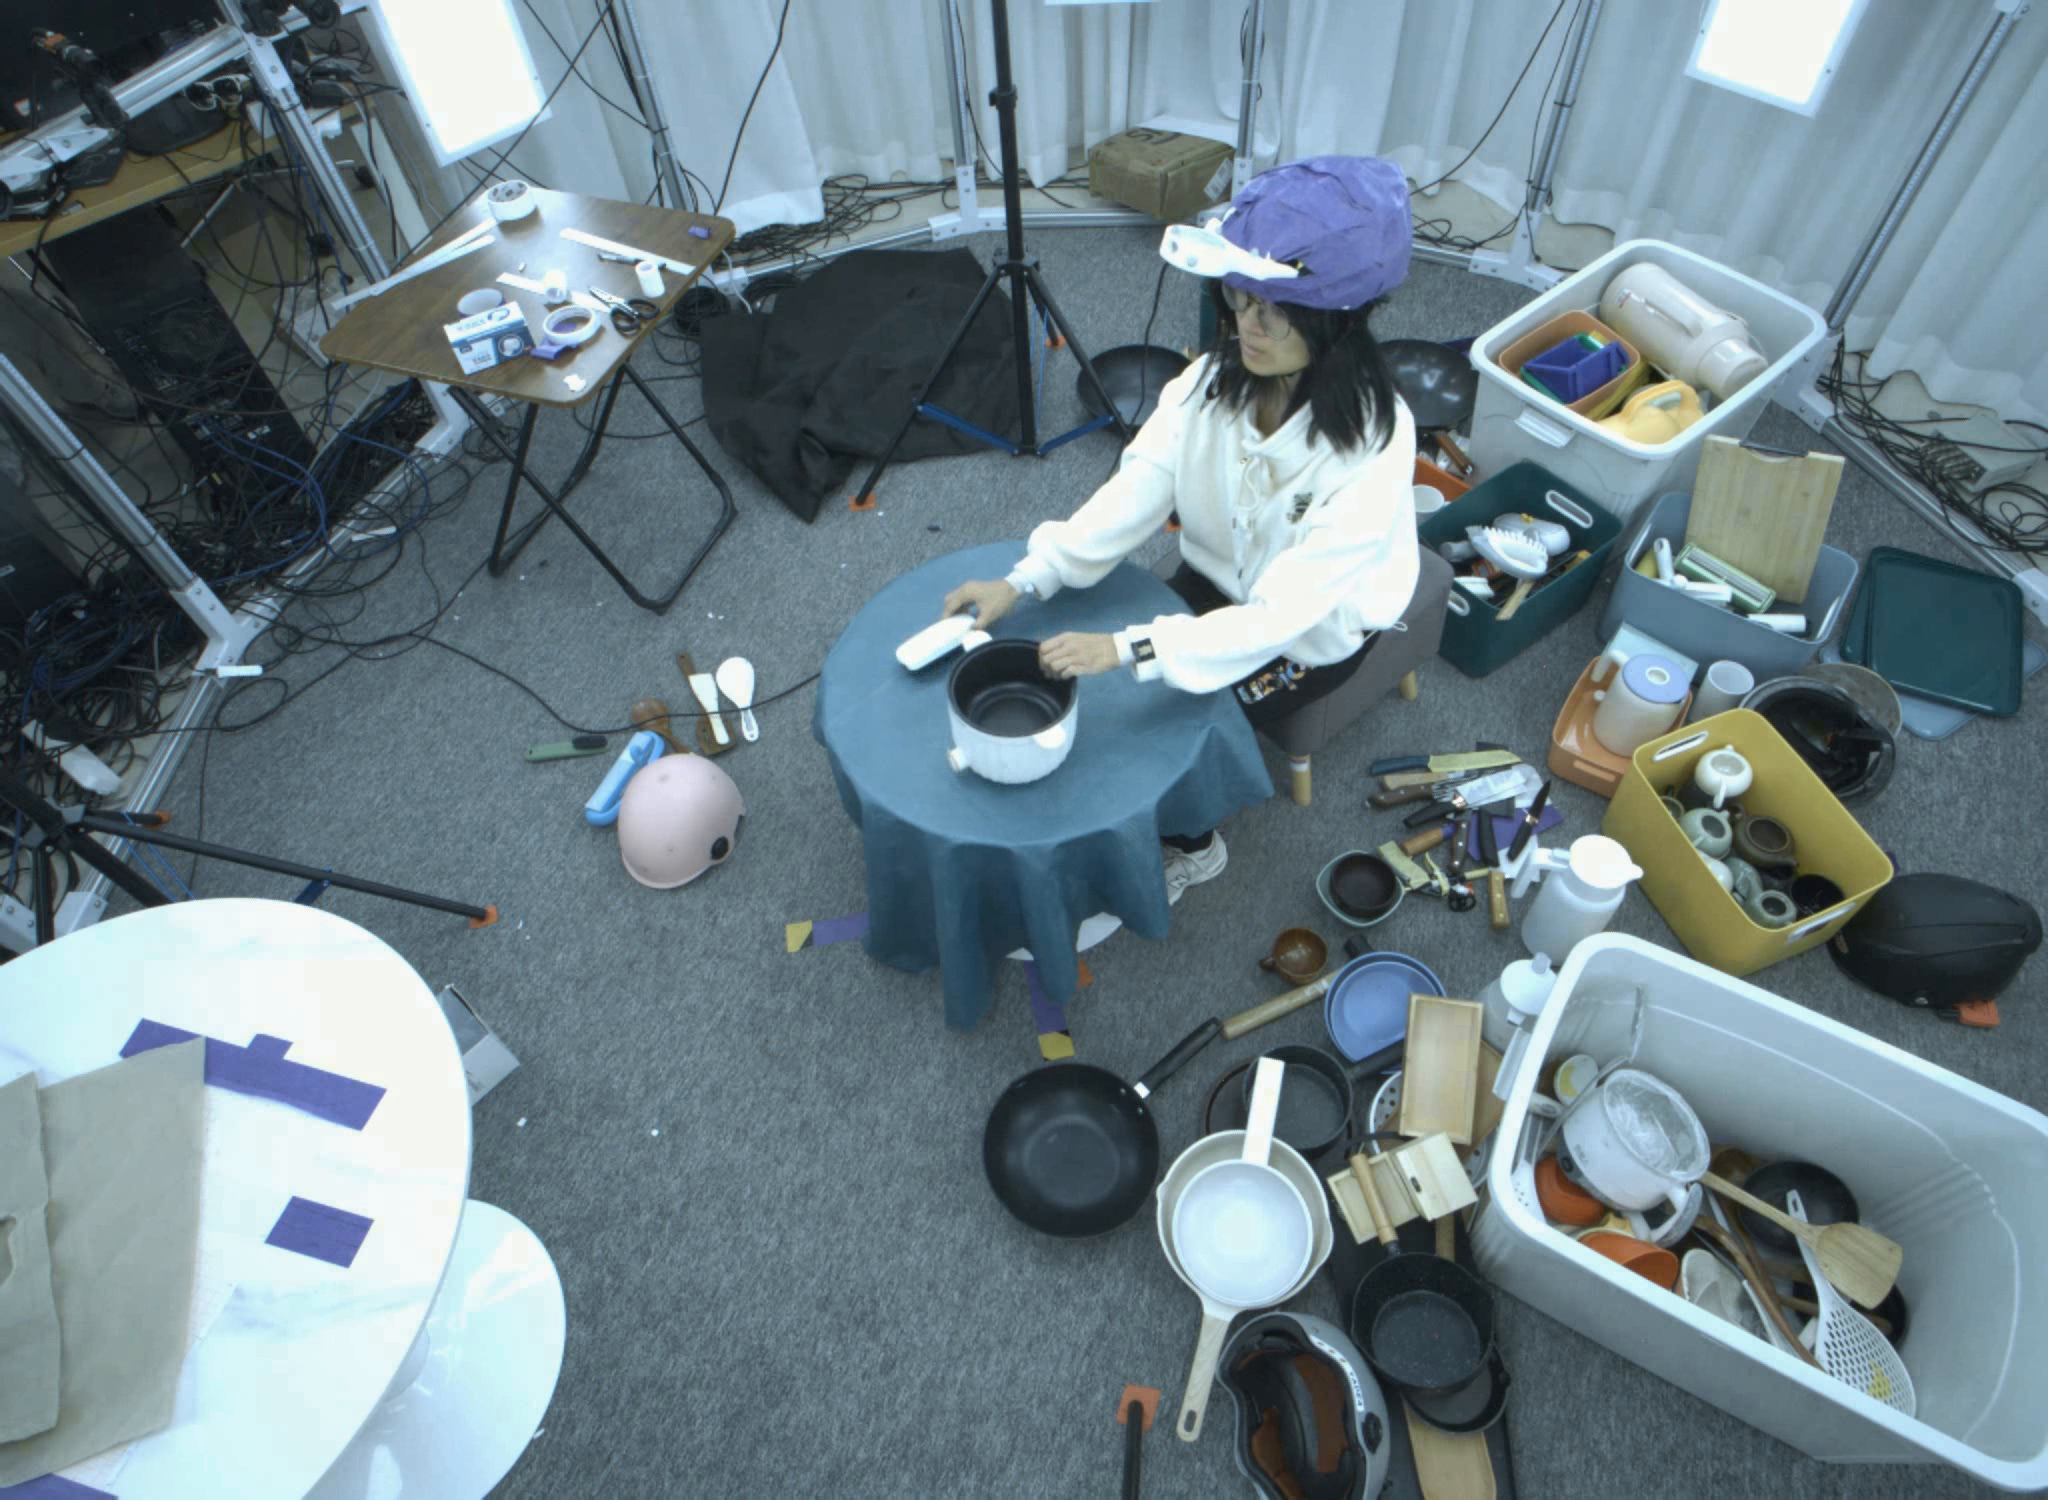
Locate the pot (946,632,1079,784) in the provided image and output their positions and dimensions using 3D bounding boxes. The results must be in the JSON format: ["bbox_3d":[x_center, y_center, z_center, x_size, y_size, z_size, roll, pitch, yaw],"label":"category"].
[{"bbox_3d":[-0.020,-0.044,1.731,0.192,0.144,0.236,-26,56,-21],"label":"pot"}]

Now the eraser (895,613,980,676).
[{"bbox_3d":[-0.131,-0.164,1.878,0.132,0.035,0.062,-31,43,-15],"label":"eraser"}]
